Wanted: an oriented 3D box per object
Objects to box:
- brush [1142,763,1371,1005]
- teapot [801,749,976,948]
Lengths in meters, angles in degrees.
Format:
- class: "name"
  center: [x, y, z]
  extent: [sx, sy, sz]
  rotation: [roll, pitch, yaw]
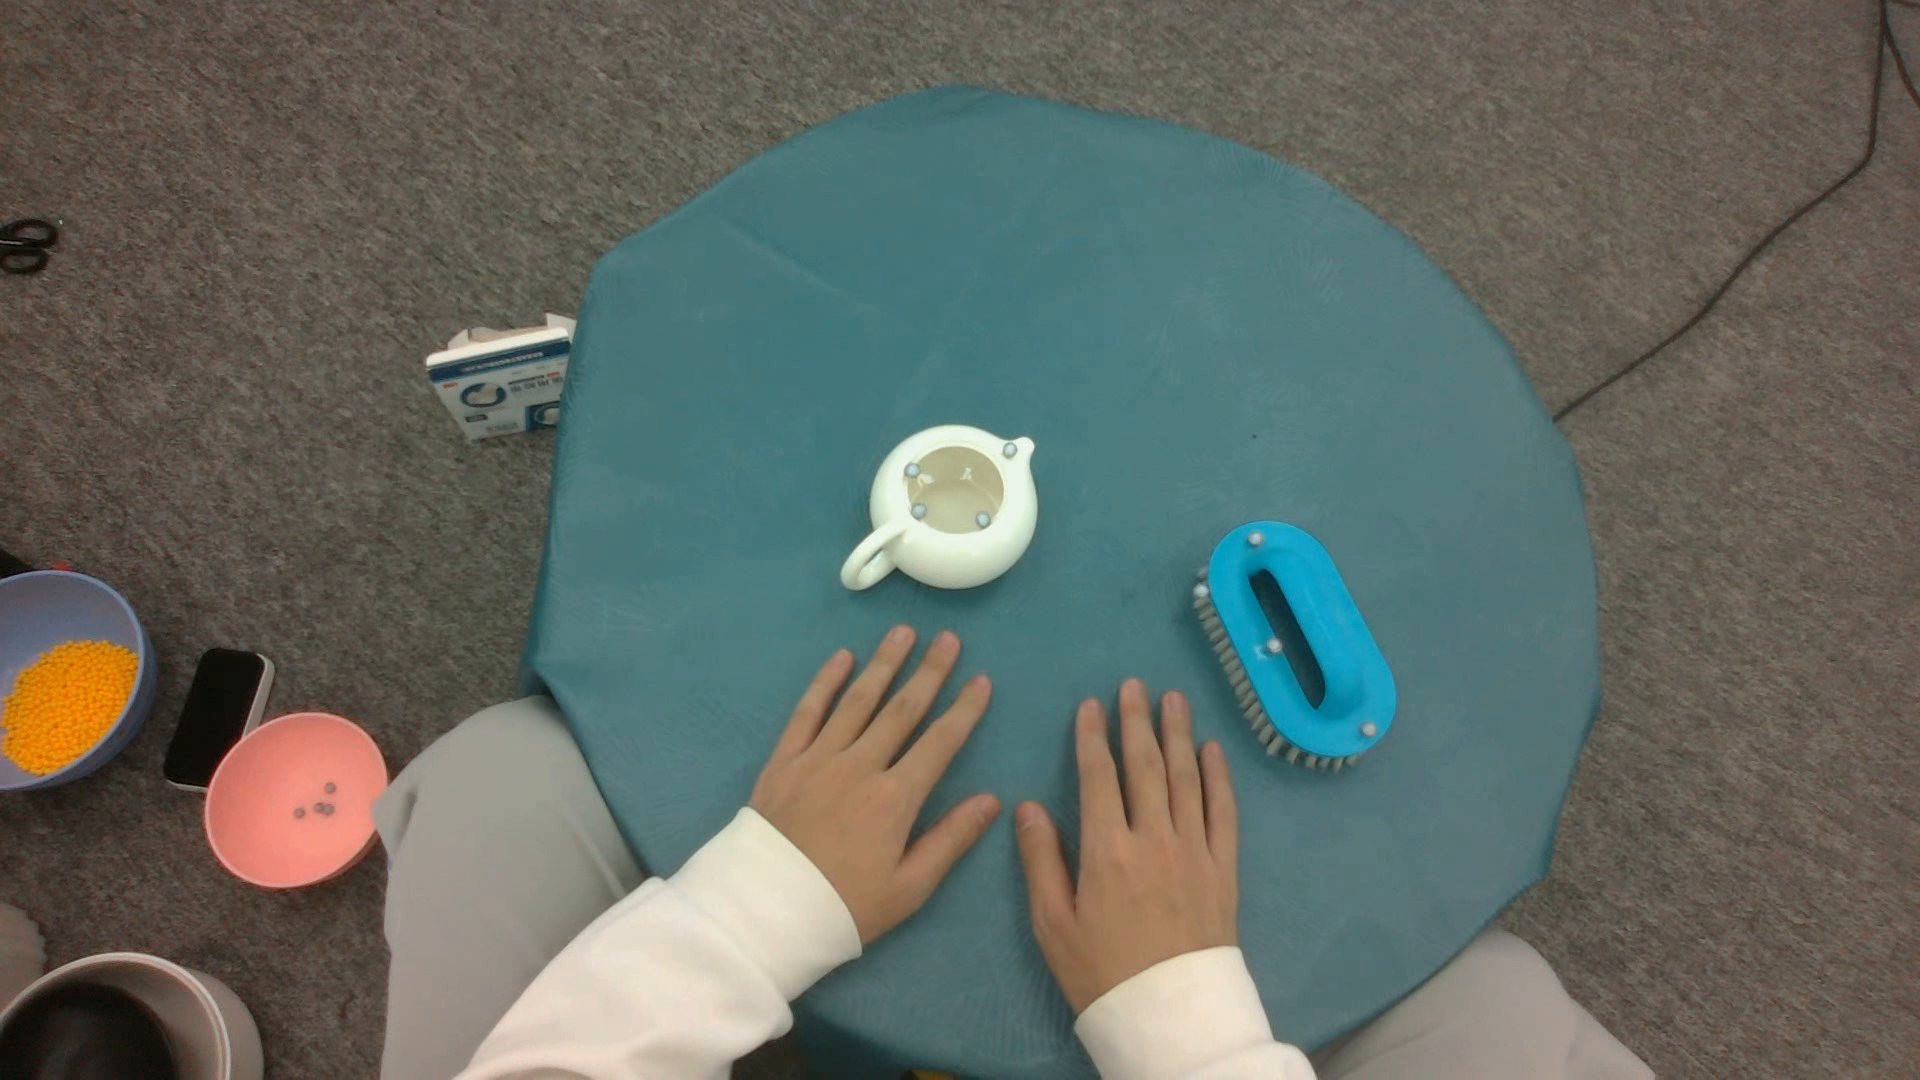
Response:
- class: "brush"
  center: [0.163, 0.175, 0.746]
  extent: [0.084, 0.063, 0.142]
  rotation: [-28, 57, -22]
- class: "teapot"
  center: [-0.044, 0.173, 0.768]
  extent: [0.093, 0.056, 0.128]
  rotation: [29, 62, 18]
